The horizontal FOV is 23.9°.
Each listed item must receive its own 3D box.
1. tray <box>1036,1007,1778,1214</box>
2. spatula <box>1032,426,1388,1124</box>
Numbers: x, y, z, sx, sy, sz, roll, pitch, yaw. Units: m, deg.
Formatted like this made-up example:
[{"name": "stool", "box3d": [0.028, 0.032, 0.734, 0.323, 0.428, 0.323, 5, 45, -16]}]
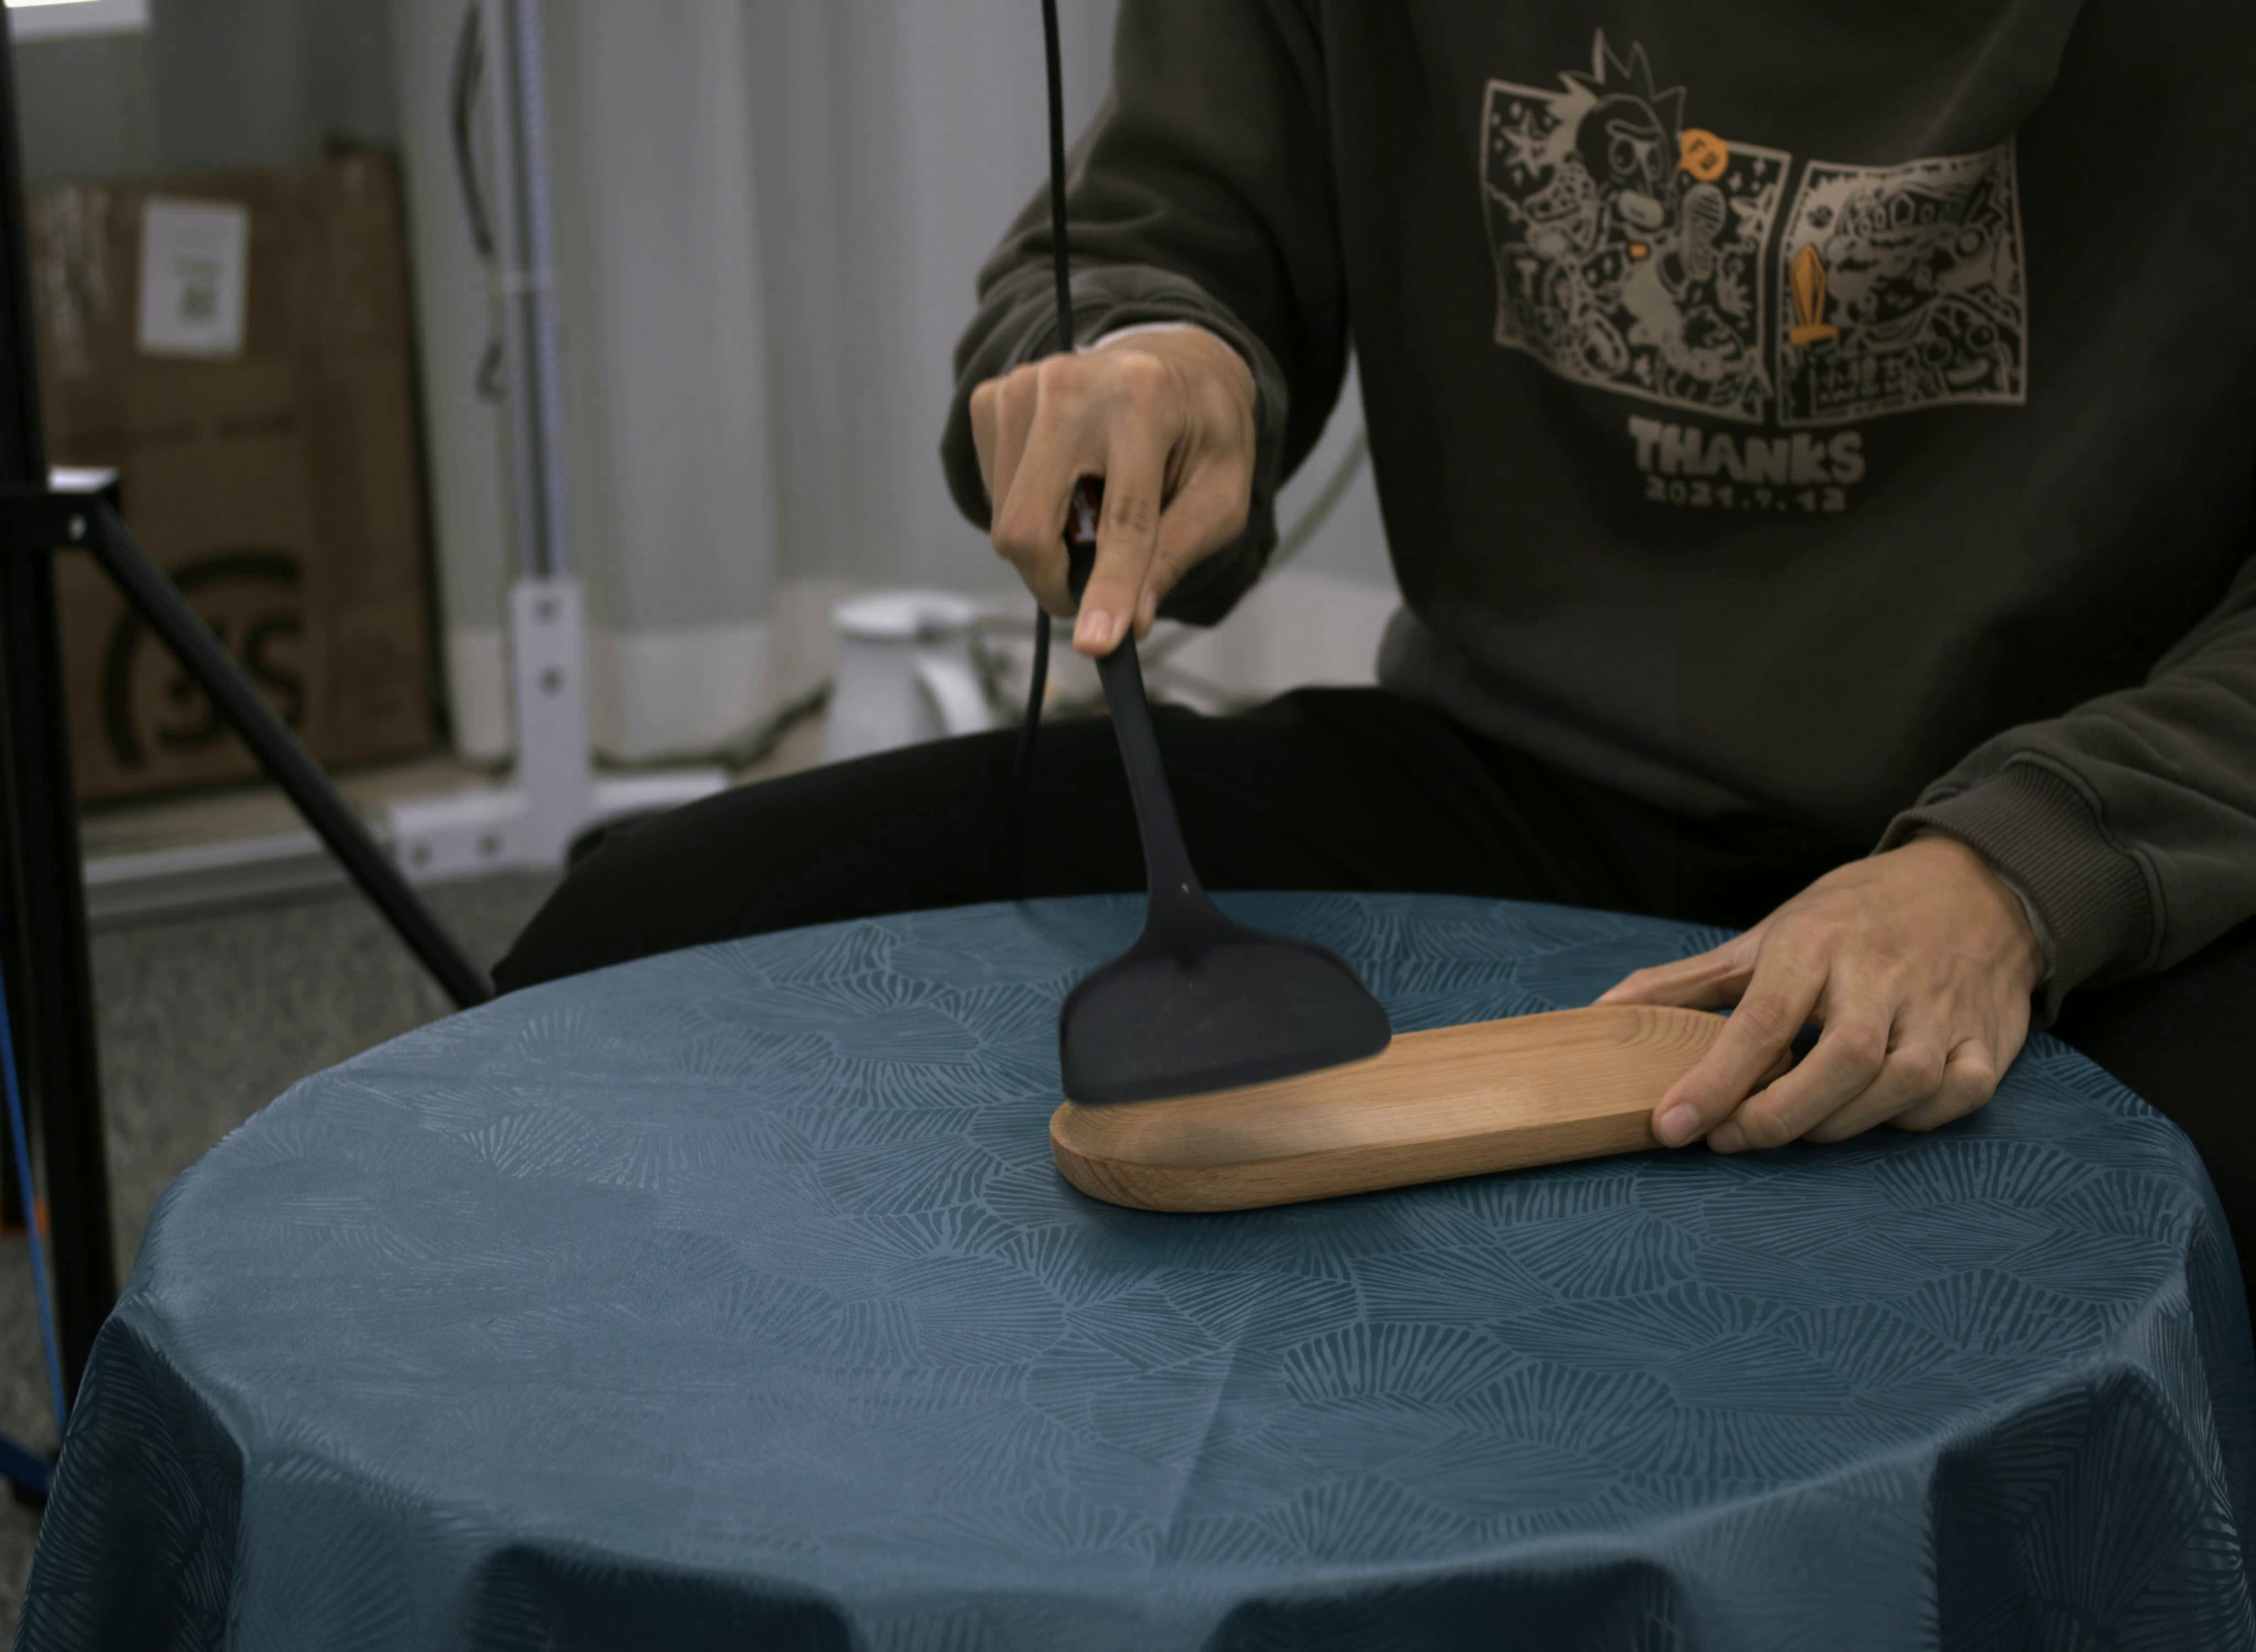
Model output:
[{"name": "tray", "box3d": [0.085, 0.086, 1.596, 0.228, 0.020, 0.103, -8, 15, -14]}, {"name": "spatula", "box3d": [0.002, -0.024, 1.638, 0.099, 0.040, 0.331, -10, 47, -4]}]
